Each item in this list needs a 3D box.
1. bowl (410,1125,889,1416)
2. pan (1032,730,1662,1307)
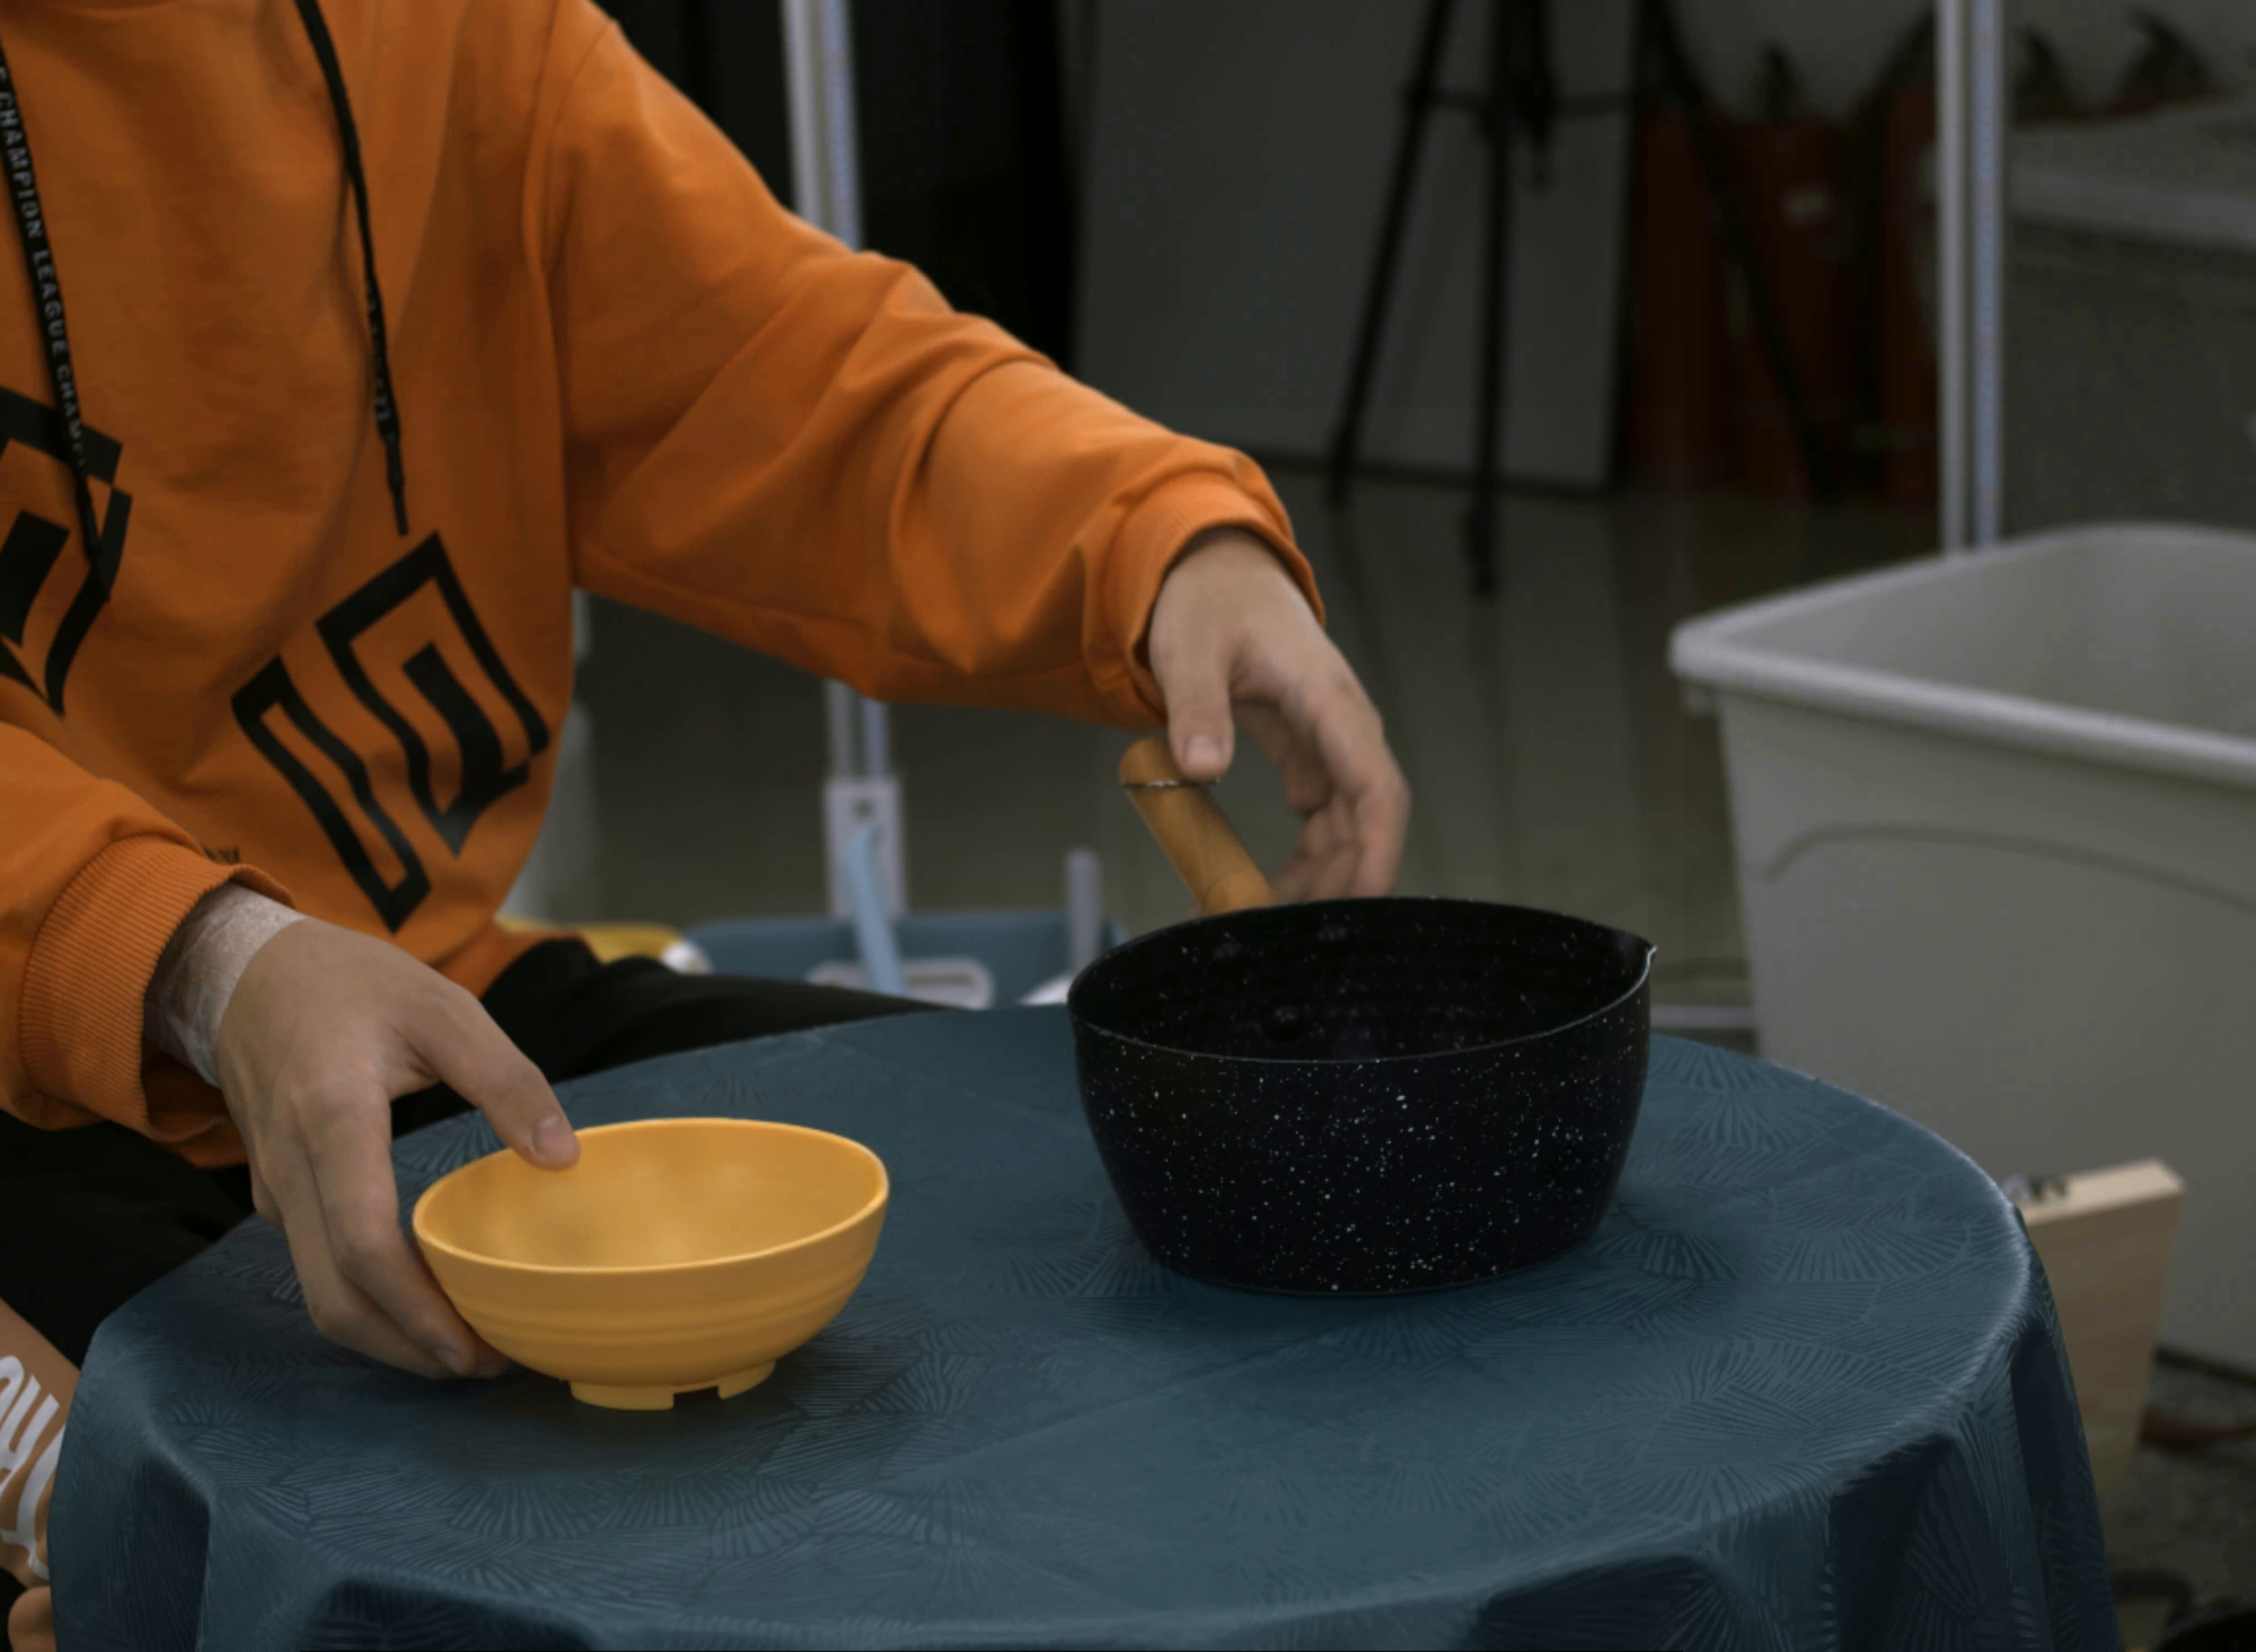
[{"bbox_3d":[-0.142,0.138,1.622,0.143,0.061,0.145,-3,13,0],"label":"bowl"},{"bbox_3d":[0.053,0.058,1.784,0.203,0.109,0.345,-9,16,-14],"label":"pan"}]
